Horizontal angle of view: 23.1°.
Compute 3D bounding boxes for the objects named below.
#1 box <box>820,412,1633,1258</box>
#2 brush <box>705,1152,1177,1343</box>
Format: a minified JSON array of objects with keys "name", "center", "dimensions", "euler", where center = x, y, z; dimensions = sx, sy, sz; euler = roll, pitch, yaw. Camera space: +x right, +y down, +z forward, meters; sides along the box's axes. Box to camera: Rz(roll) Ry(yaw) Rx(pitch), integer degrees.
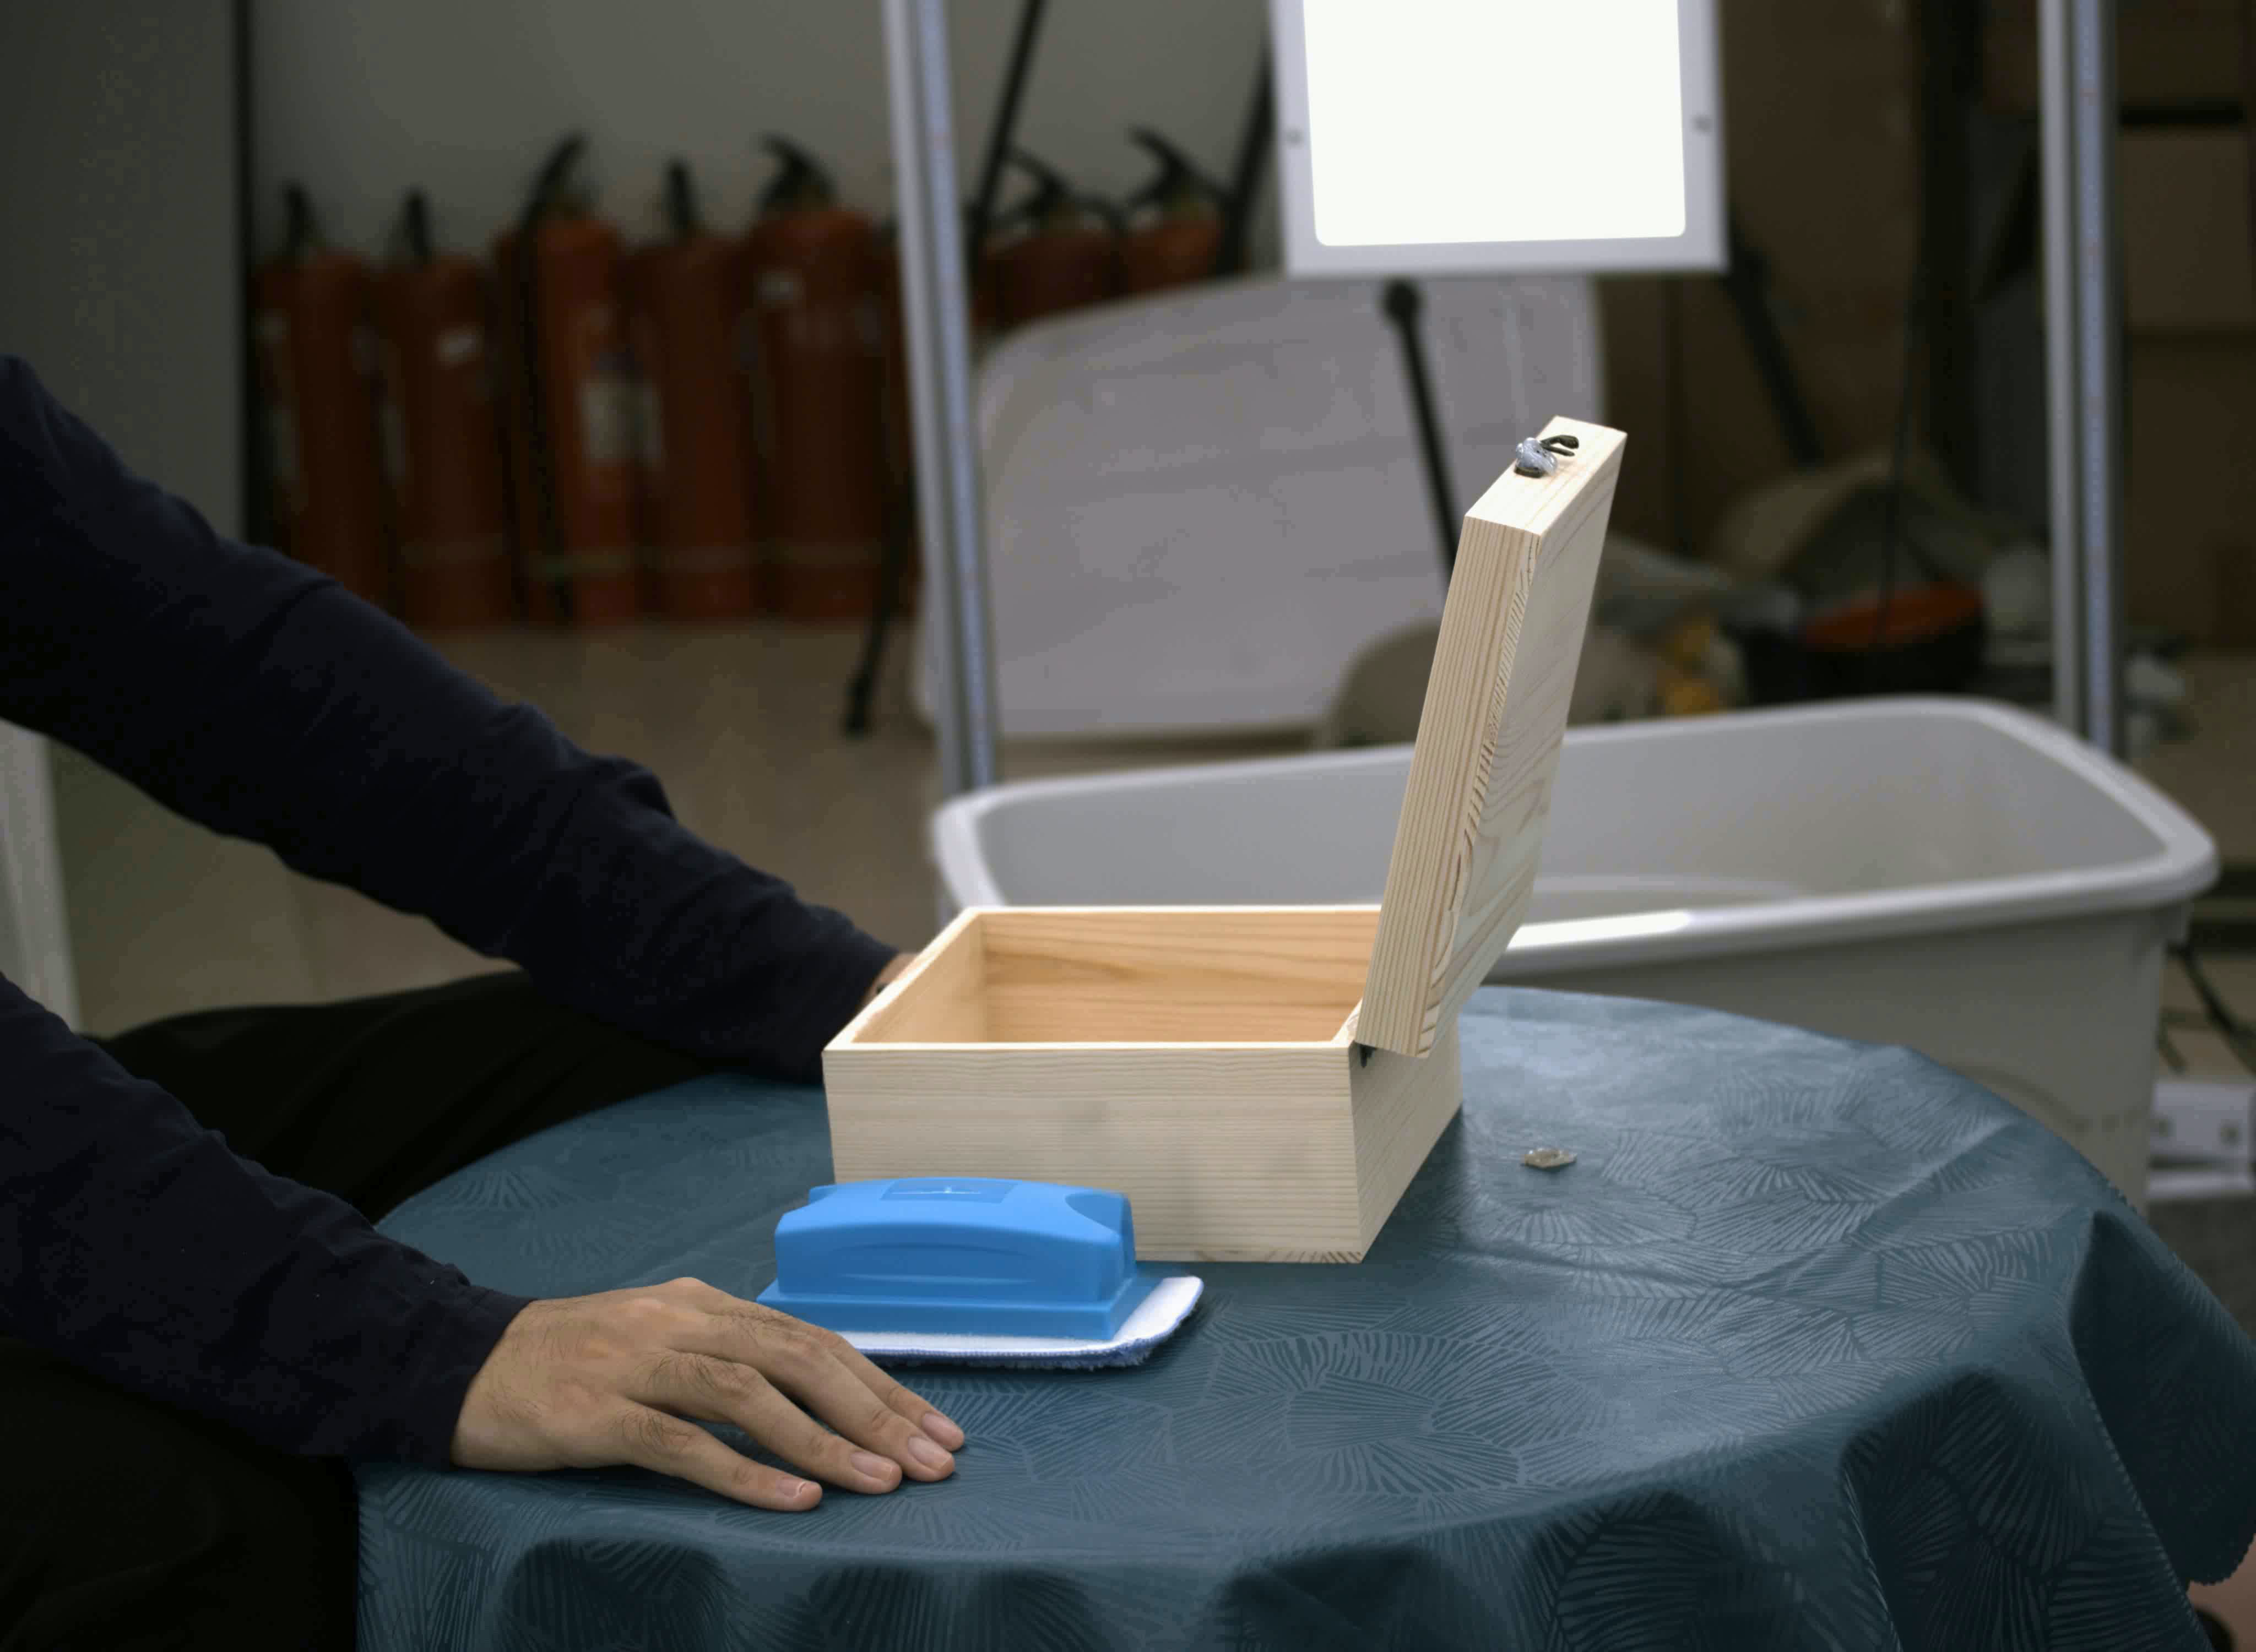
[{"name":"box","center":[0.035,0.001,1.870],"dimensions":[0.268,0.254,0.179],"euler":[-1,13,16]},{"name":"brush","center":[-0.059,0.134,1.760],"dimensions":[0.146,0.056,0.082],"euler":[2,12,21]}]
